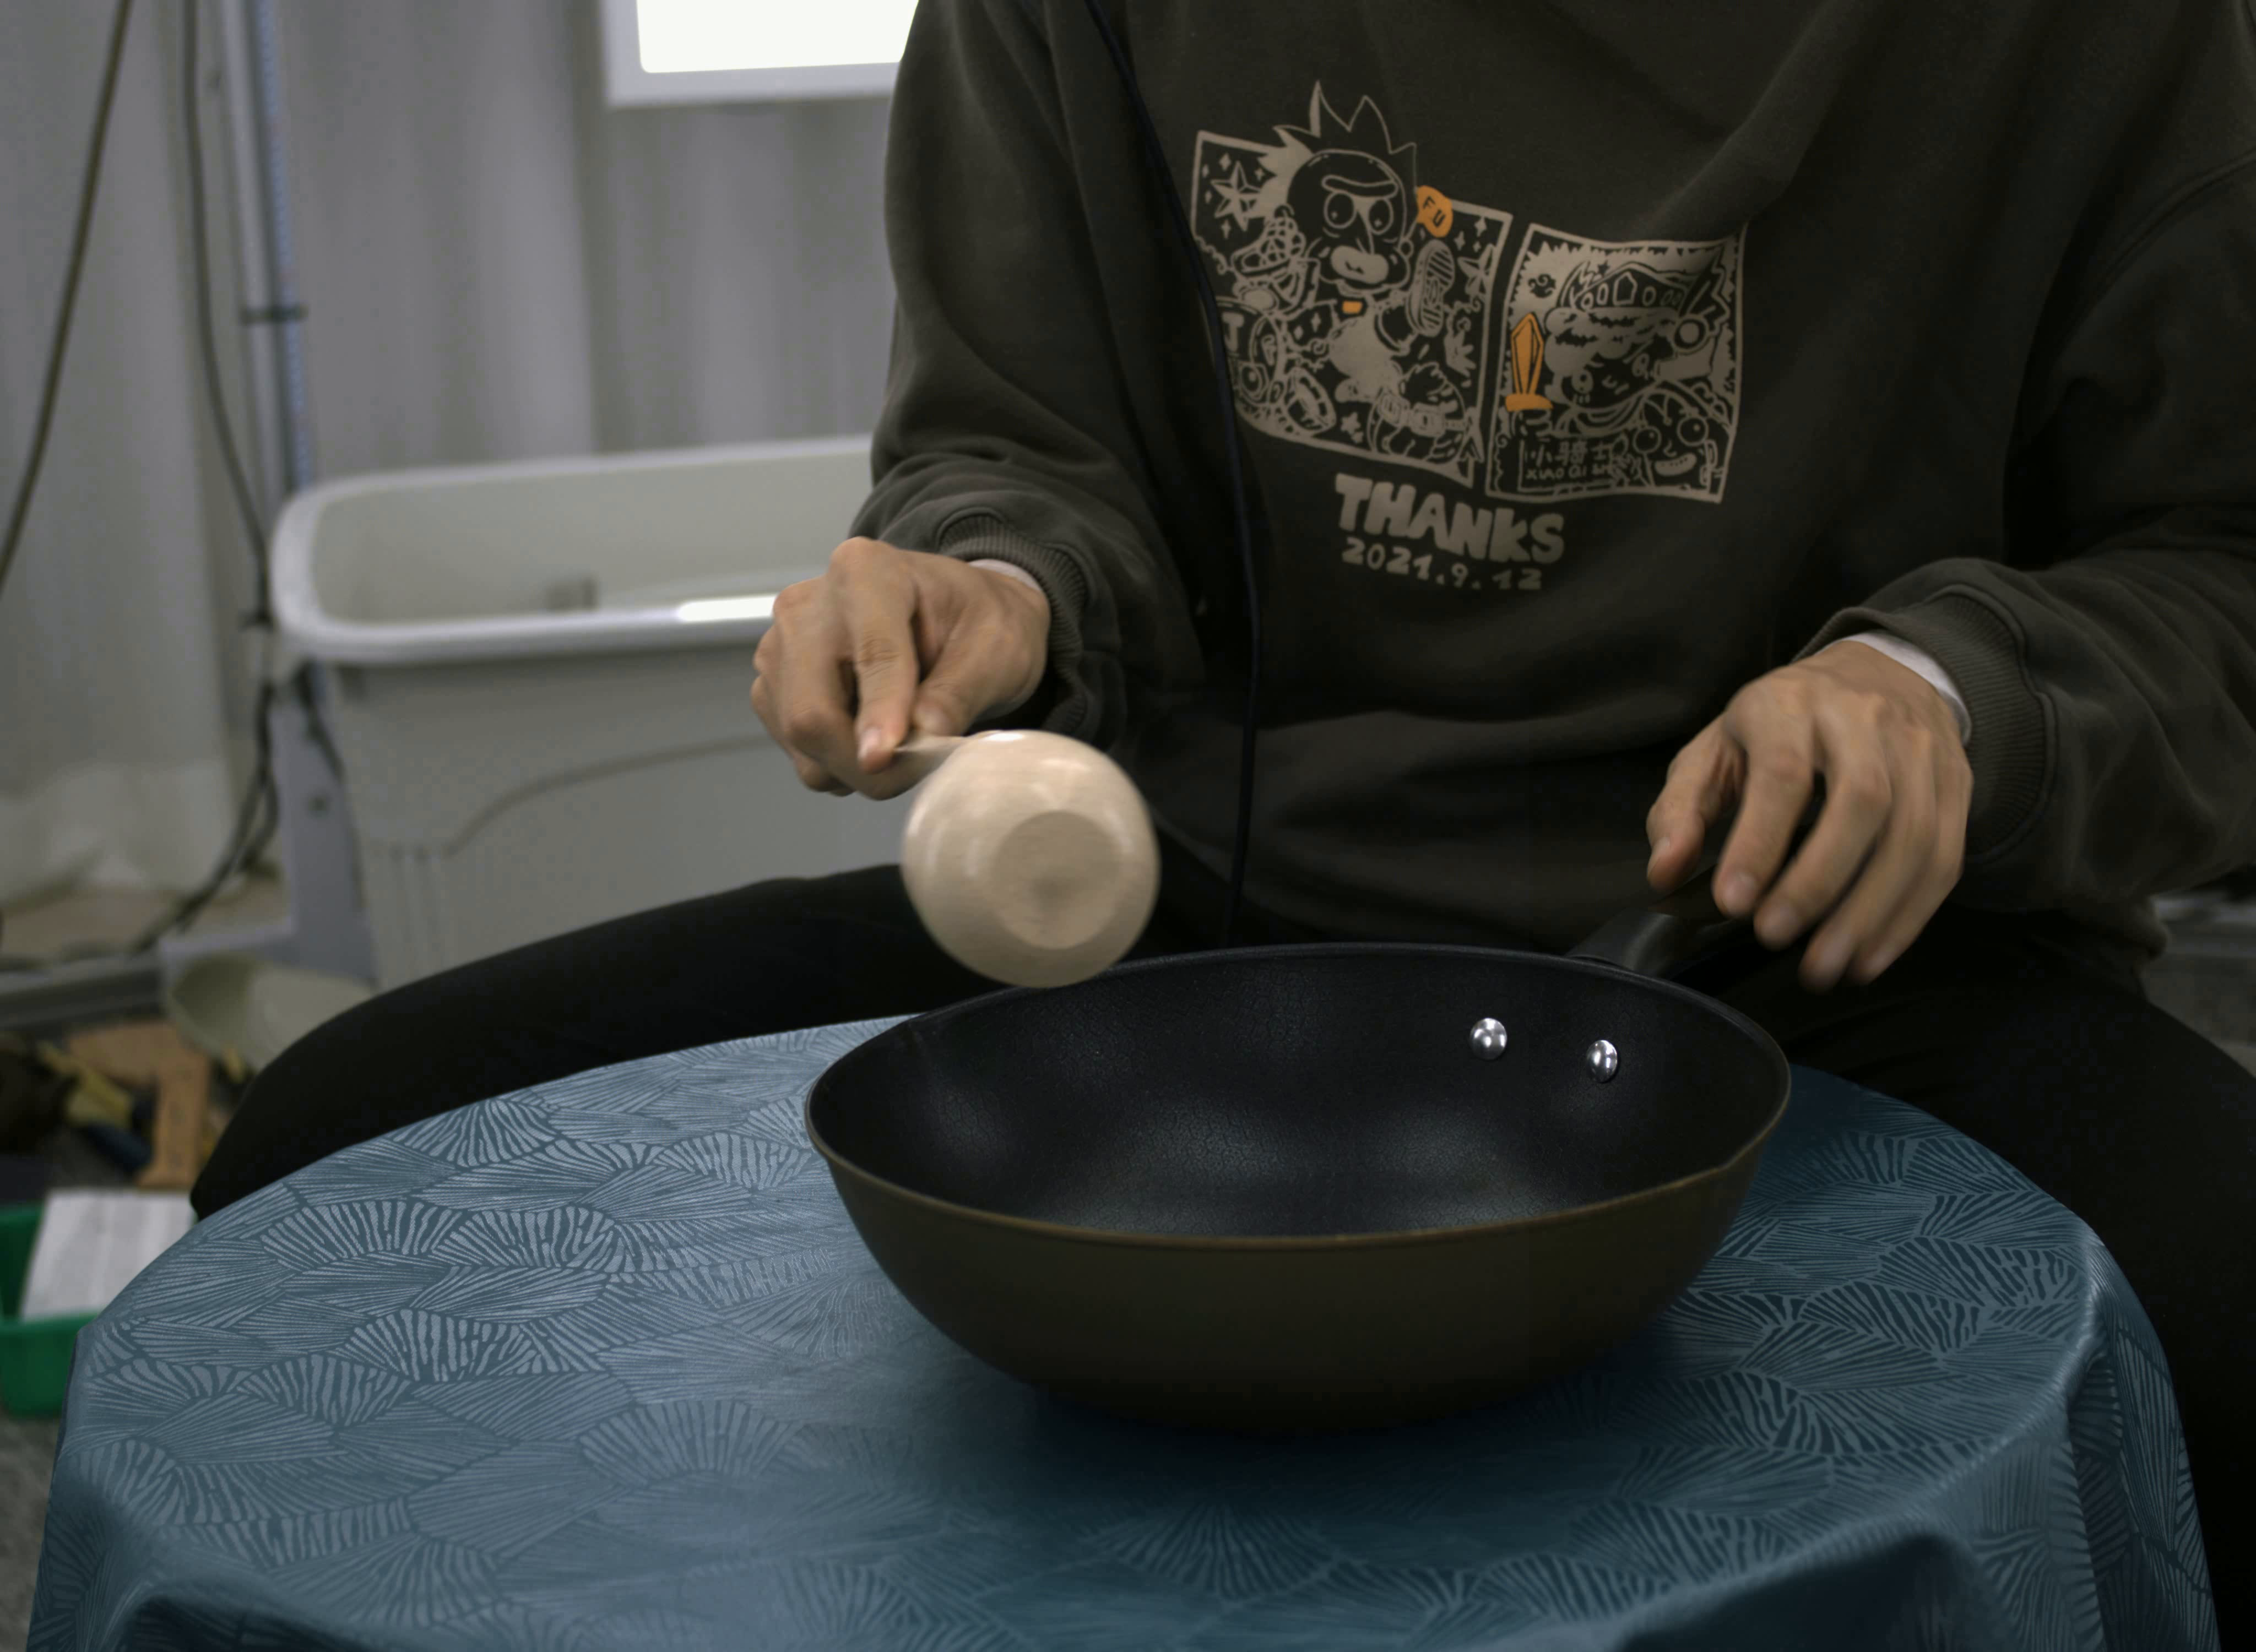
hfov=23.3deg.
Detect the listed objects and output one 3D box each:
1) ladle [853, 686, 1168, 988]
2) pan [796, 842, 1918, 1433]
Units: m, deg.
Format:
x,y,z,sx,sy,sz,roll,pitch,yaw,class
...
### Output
x,y,z,sx,sy,sz,roll,pitch,yaw,class
-0.045,0.000,1.661,0.072,0.072,0.255,-24,9,-9,ladle
0.103,0.090,1.639,0.289,0.086,0.463,9,18,37,pan
